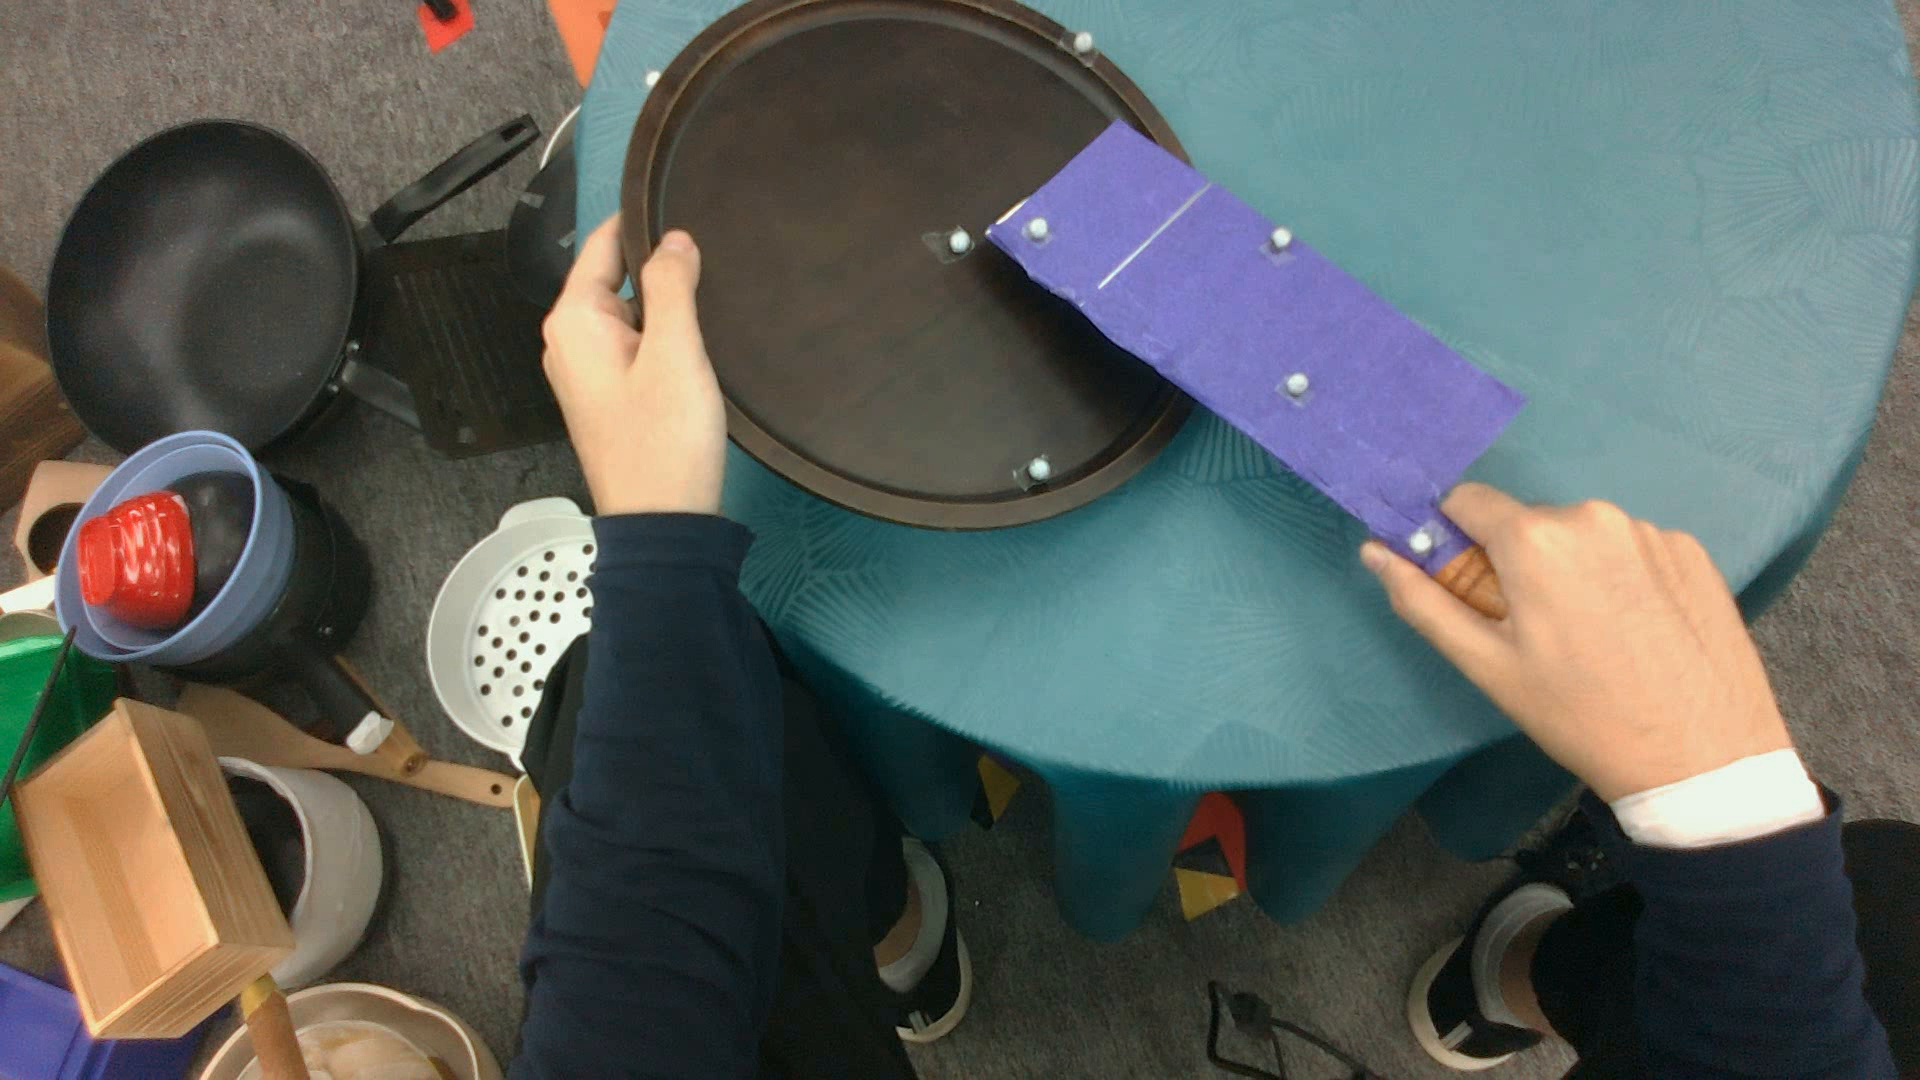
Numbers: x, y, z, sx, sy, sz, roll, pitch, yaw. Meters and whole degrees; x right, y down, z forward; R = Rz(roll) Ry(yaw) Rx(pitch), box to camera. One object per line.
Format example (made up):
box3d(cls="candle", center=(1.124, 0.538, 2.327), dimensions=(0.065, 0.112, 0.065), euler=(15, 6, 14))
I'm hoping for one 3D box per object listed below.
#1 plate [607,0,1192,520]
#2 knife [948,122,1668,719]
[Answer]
box3d(cls="plate", center=(-0.016, -0.126, 0.570), dimensions=(0.255, 0.029, 0.255), euler=(6, 69, -15))
box3d(cls="knife", center=(0.143, -0.063, 0.532), dimensions=(0.315, 0.032, 0.104), euler=(40, 67, 14))
